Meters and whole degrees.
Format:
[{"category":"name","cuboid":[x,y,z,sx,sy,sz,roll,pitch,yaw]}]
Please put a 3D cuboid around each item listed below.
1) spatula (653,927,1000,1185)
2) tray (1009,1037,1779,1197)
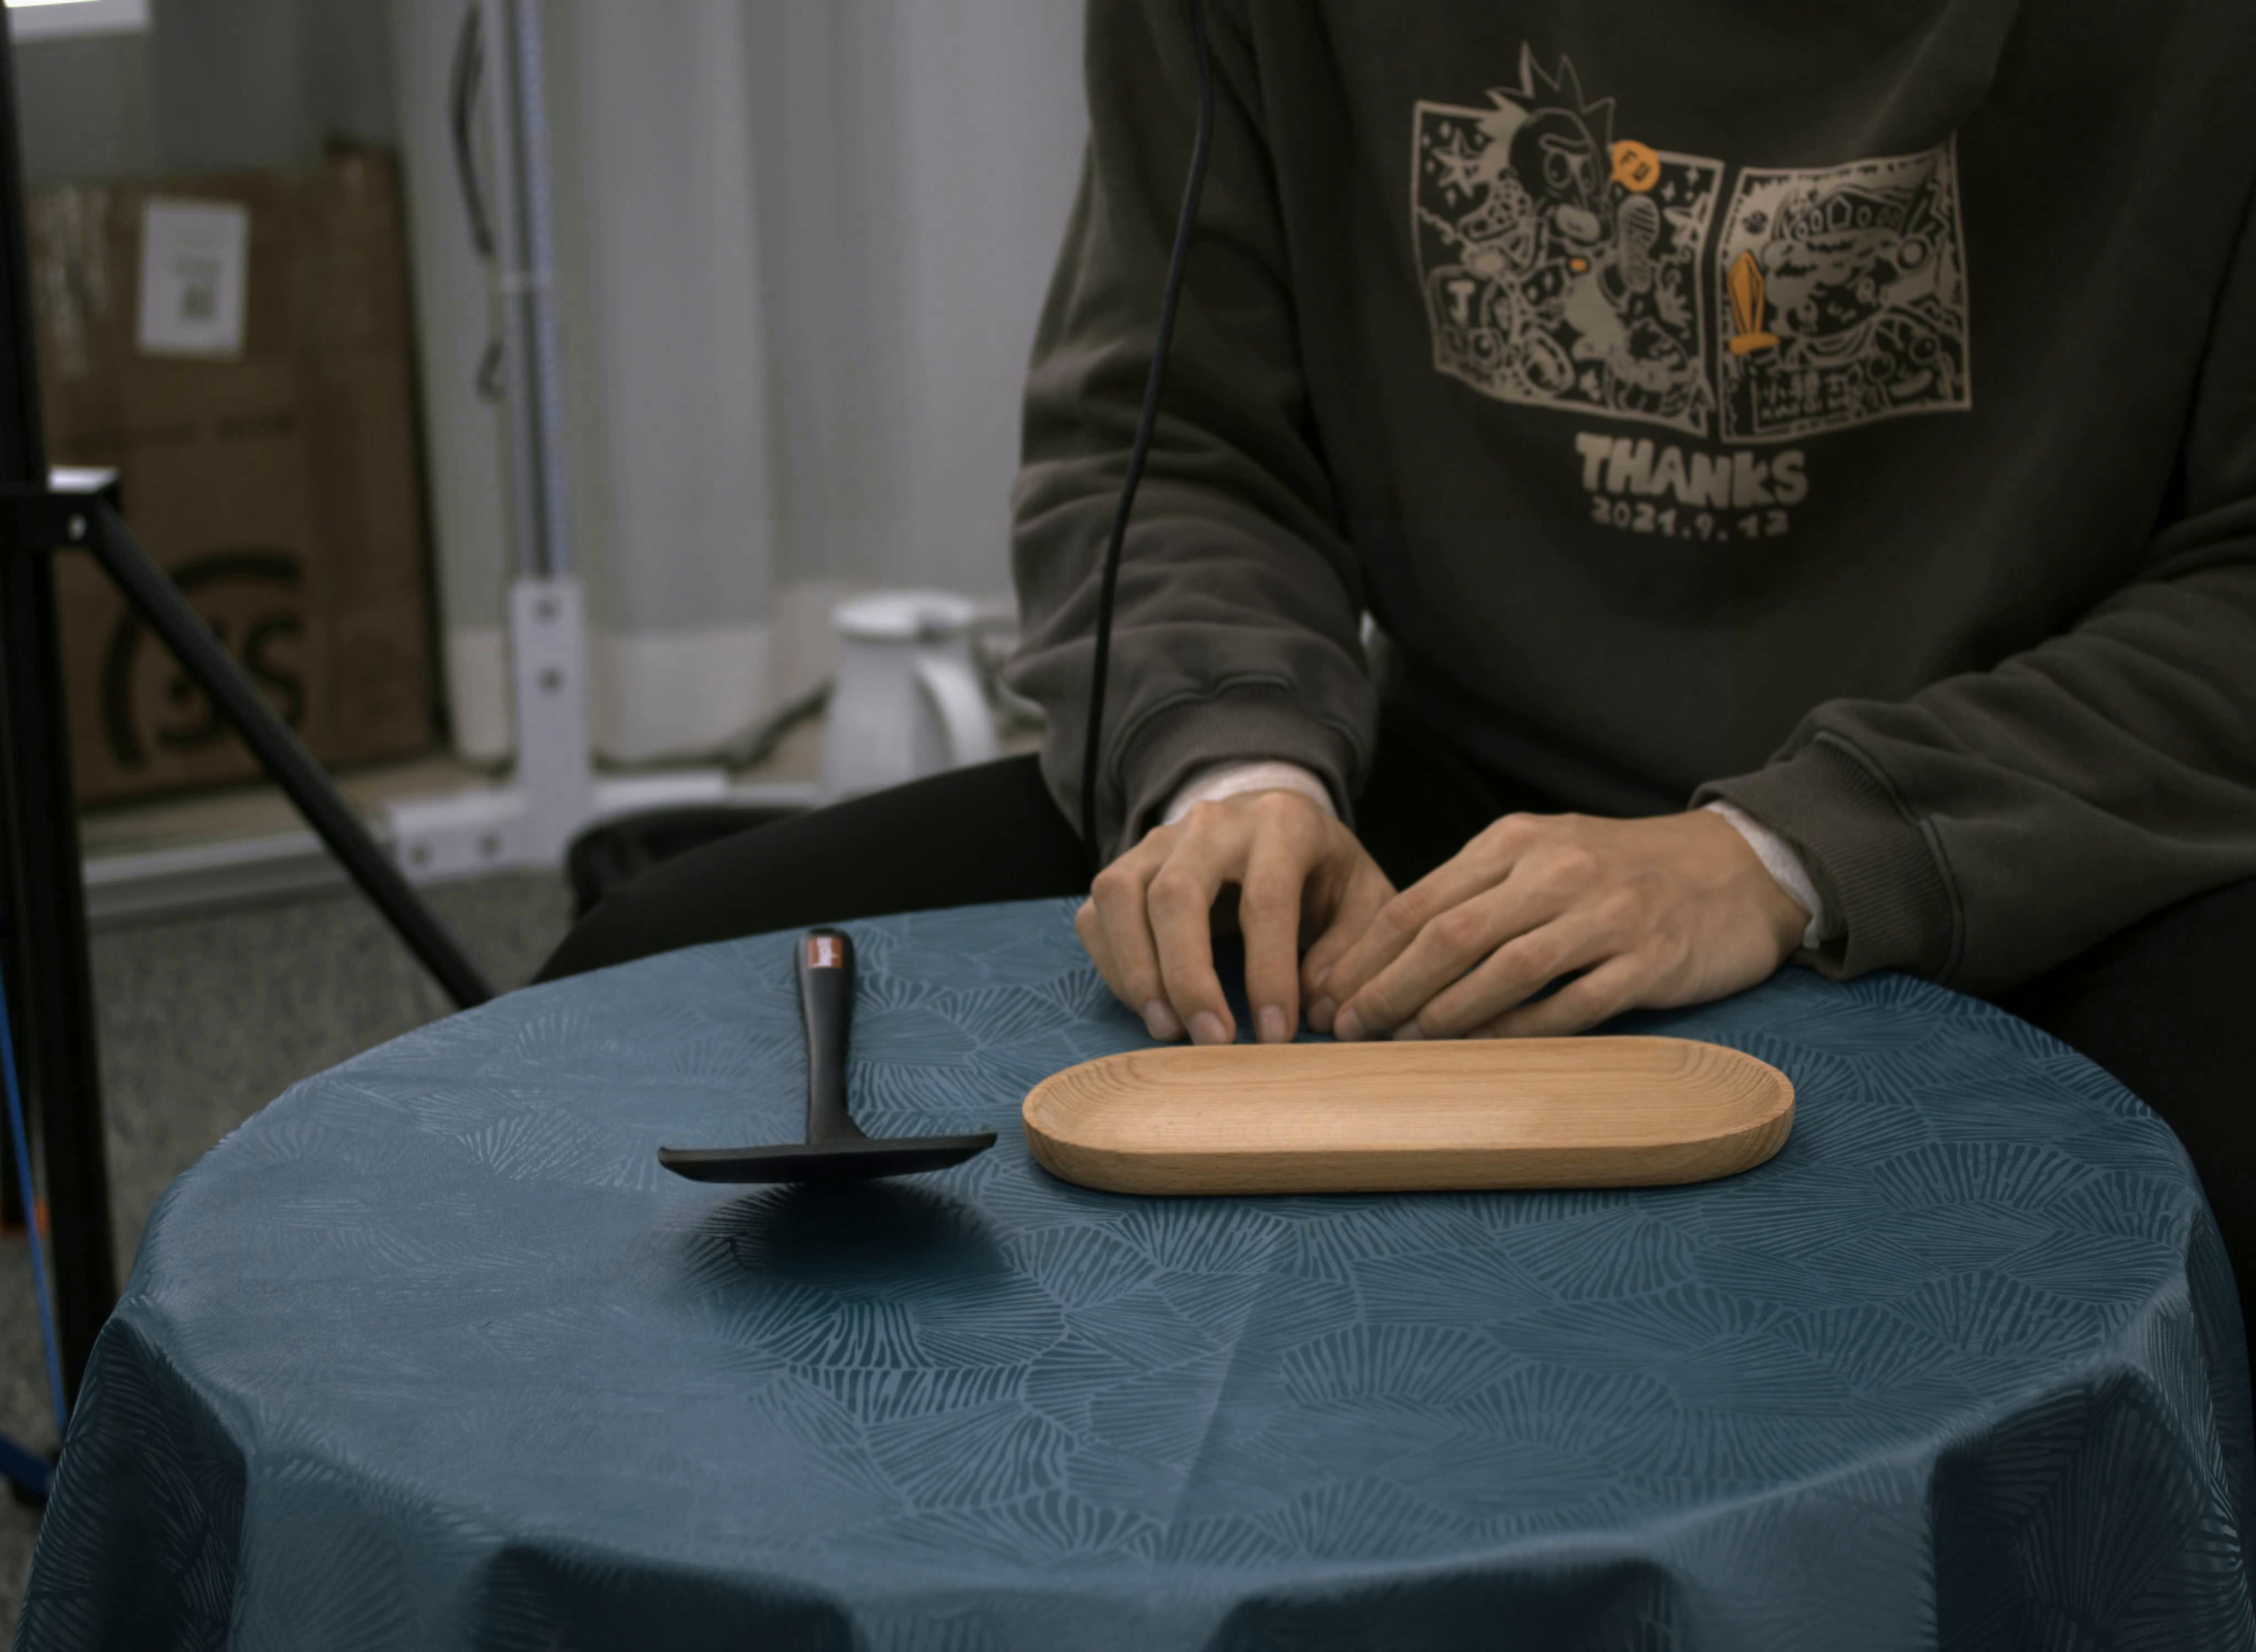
[{"category":"spatula","cuboid":[-0.095,0.067,1.657,0.099,0.040,0.328,-2,16,-3]},{"category":"tray","cuboid":[0.080,0.088,1.591,0.231,0.020,0.102,-2,15,6]}]
